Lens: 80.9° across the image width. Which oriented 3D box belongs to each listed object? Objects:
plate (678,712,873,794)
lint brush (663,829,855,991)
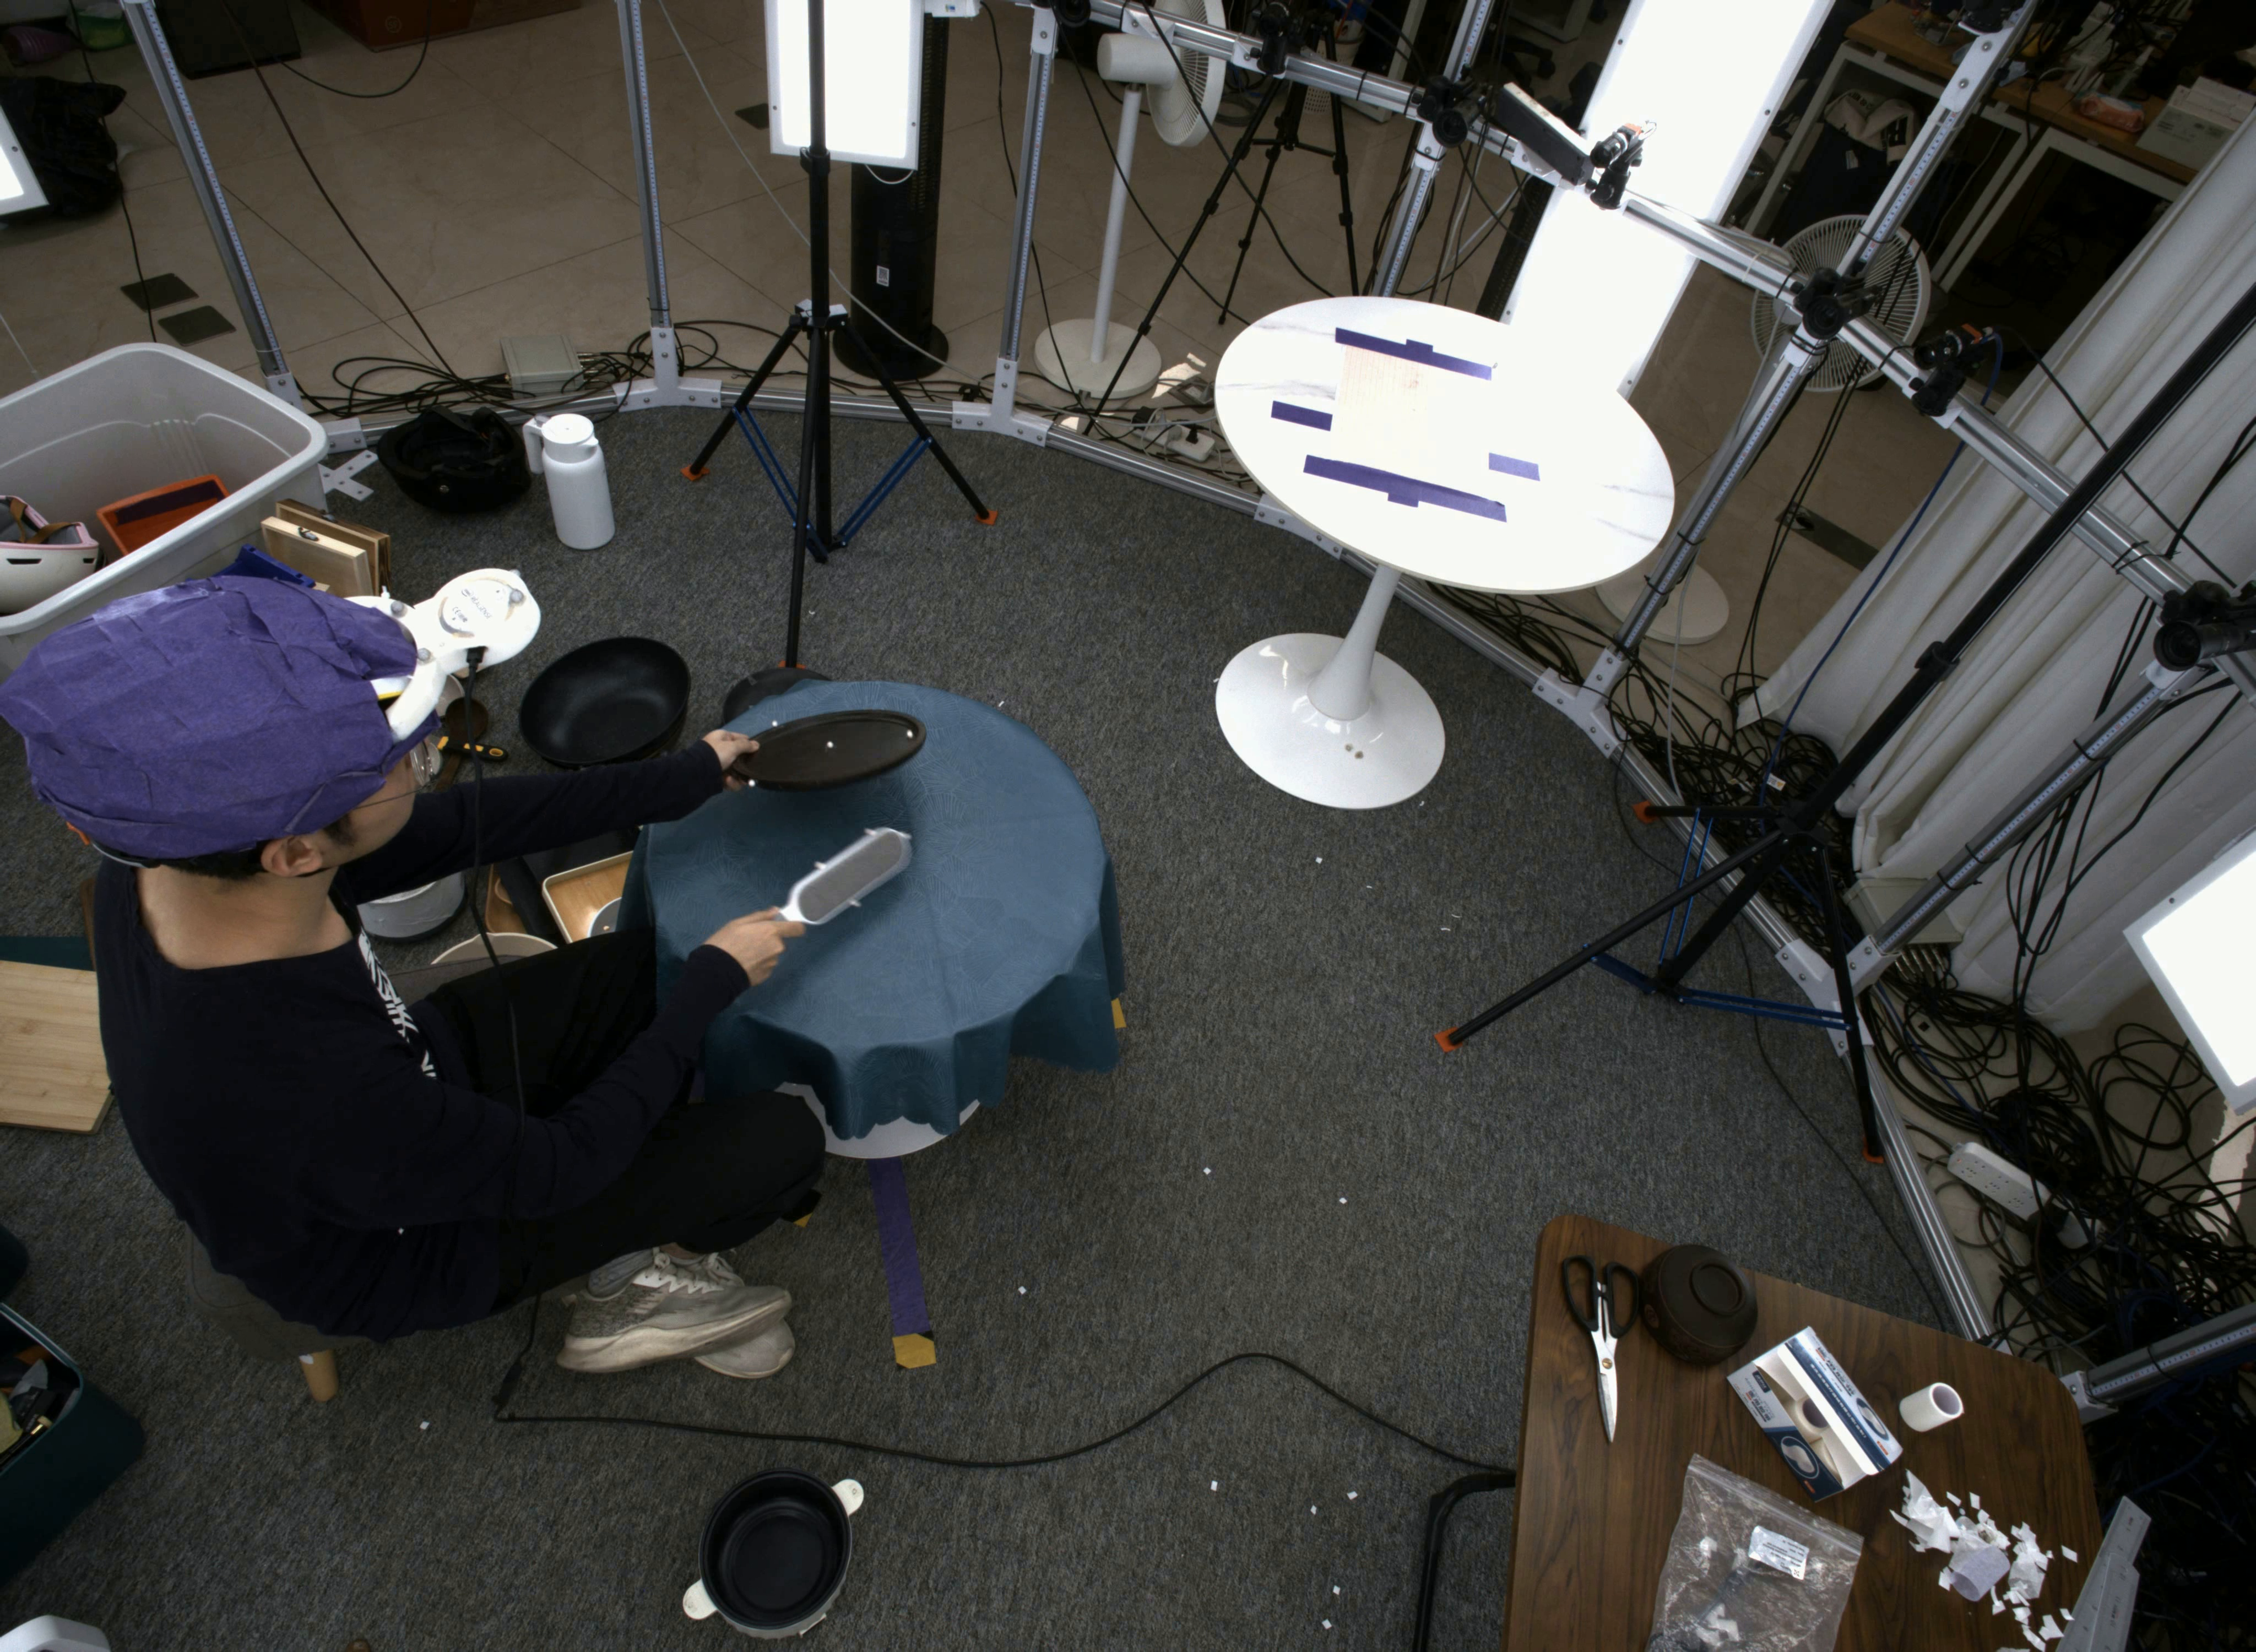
[{"bbox_3d":[-0.452,-0.097,1.667,0.251,0.030,0.250,-7,22,5],"label":"plate"},{"bbox_3d":[-0.444,0.096,1.568,0.020,0.062,0.309,0,32,41],"label":"lint brush"}]
